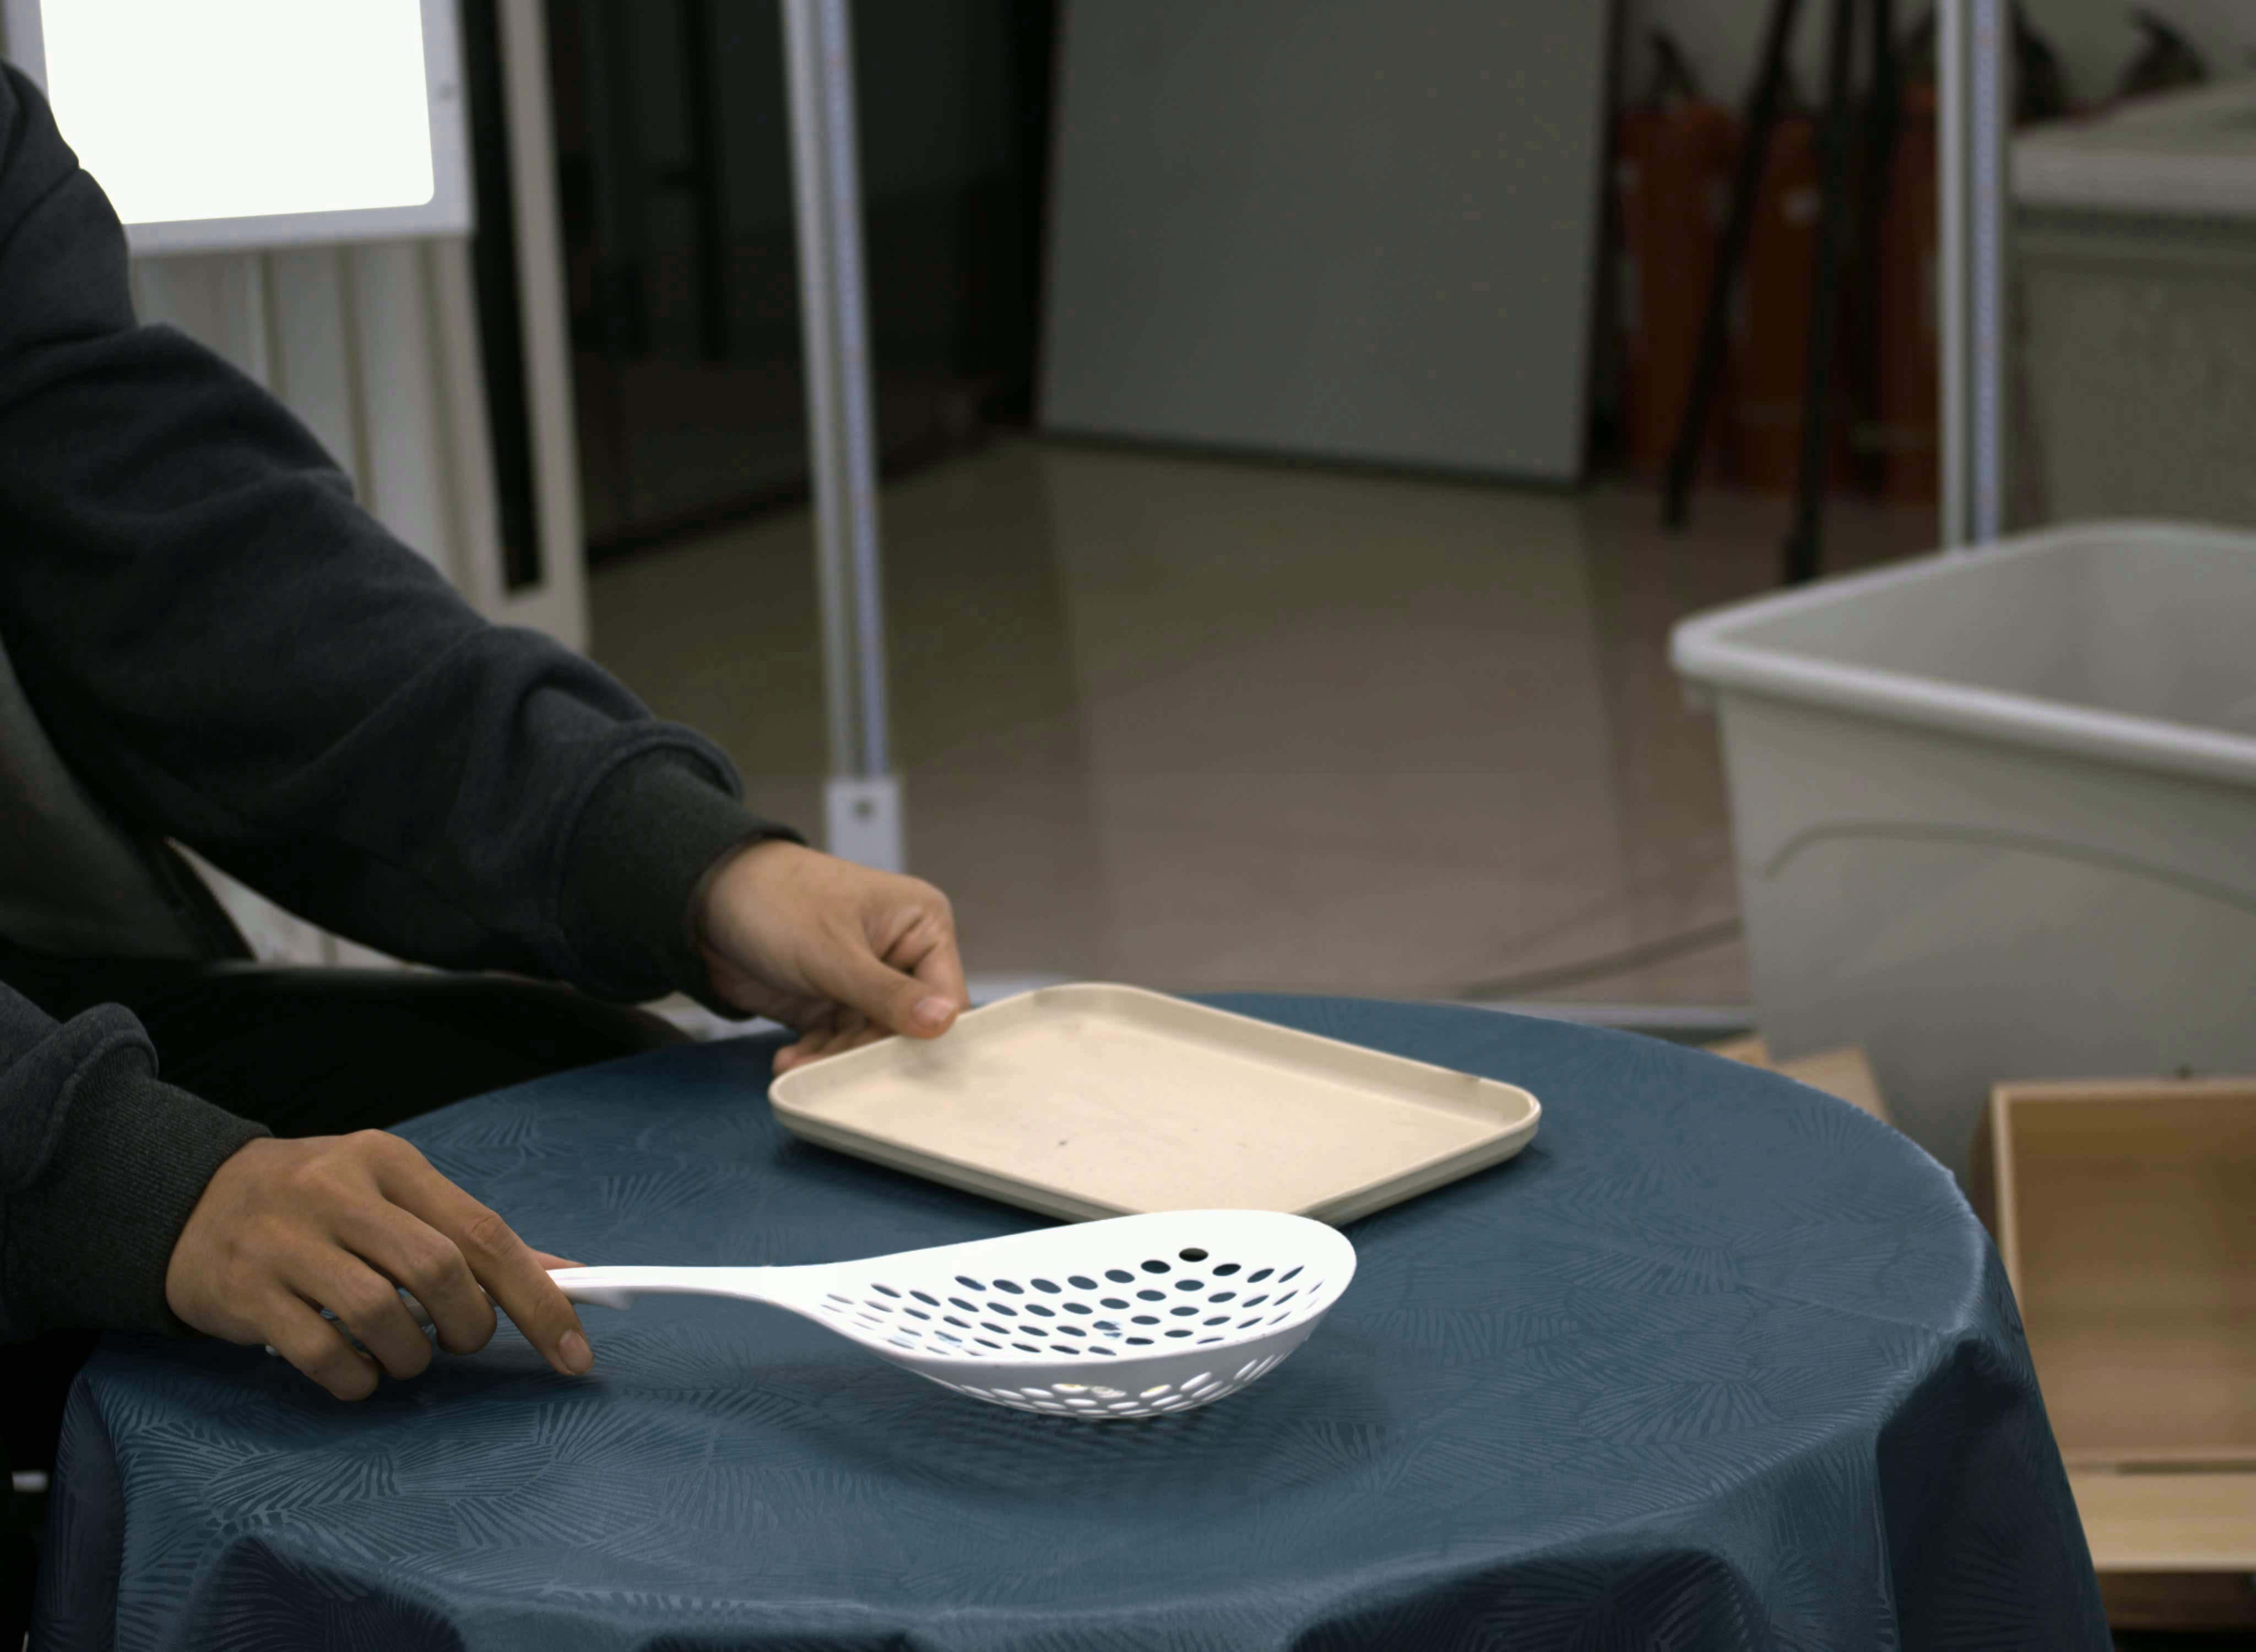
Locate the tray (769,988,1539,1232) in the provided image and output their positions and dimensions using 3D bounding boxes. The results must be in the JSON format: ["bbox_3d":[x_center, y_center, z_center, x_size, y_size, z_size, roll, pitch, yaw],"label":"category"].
[{"bbox_3d":[0.007,0.099,1.810,0.168,0.017,0.242,-17,20,-41],"label":"tray"}]

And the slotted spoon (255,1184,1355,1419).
[{"bbox_3d":[-0.101,0.147,1.605,0.347,0.051,0.135,1,16,19],"label":"slotted spoon"}]
